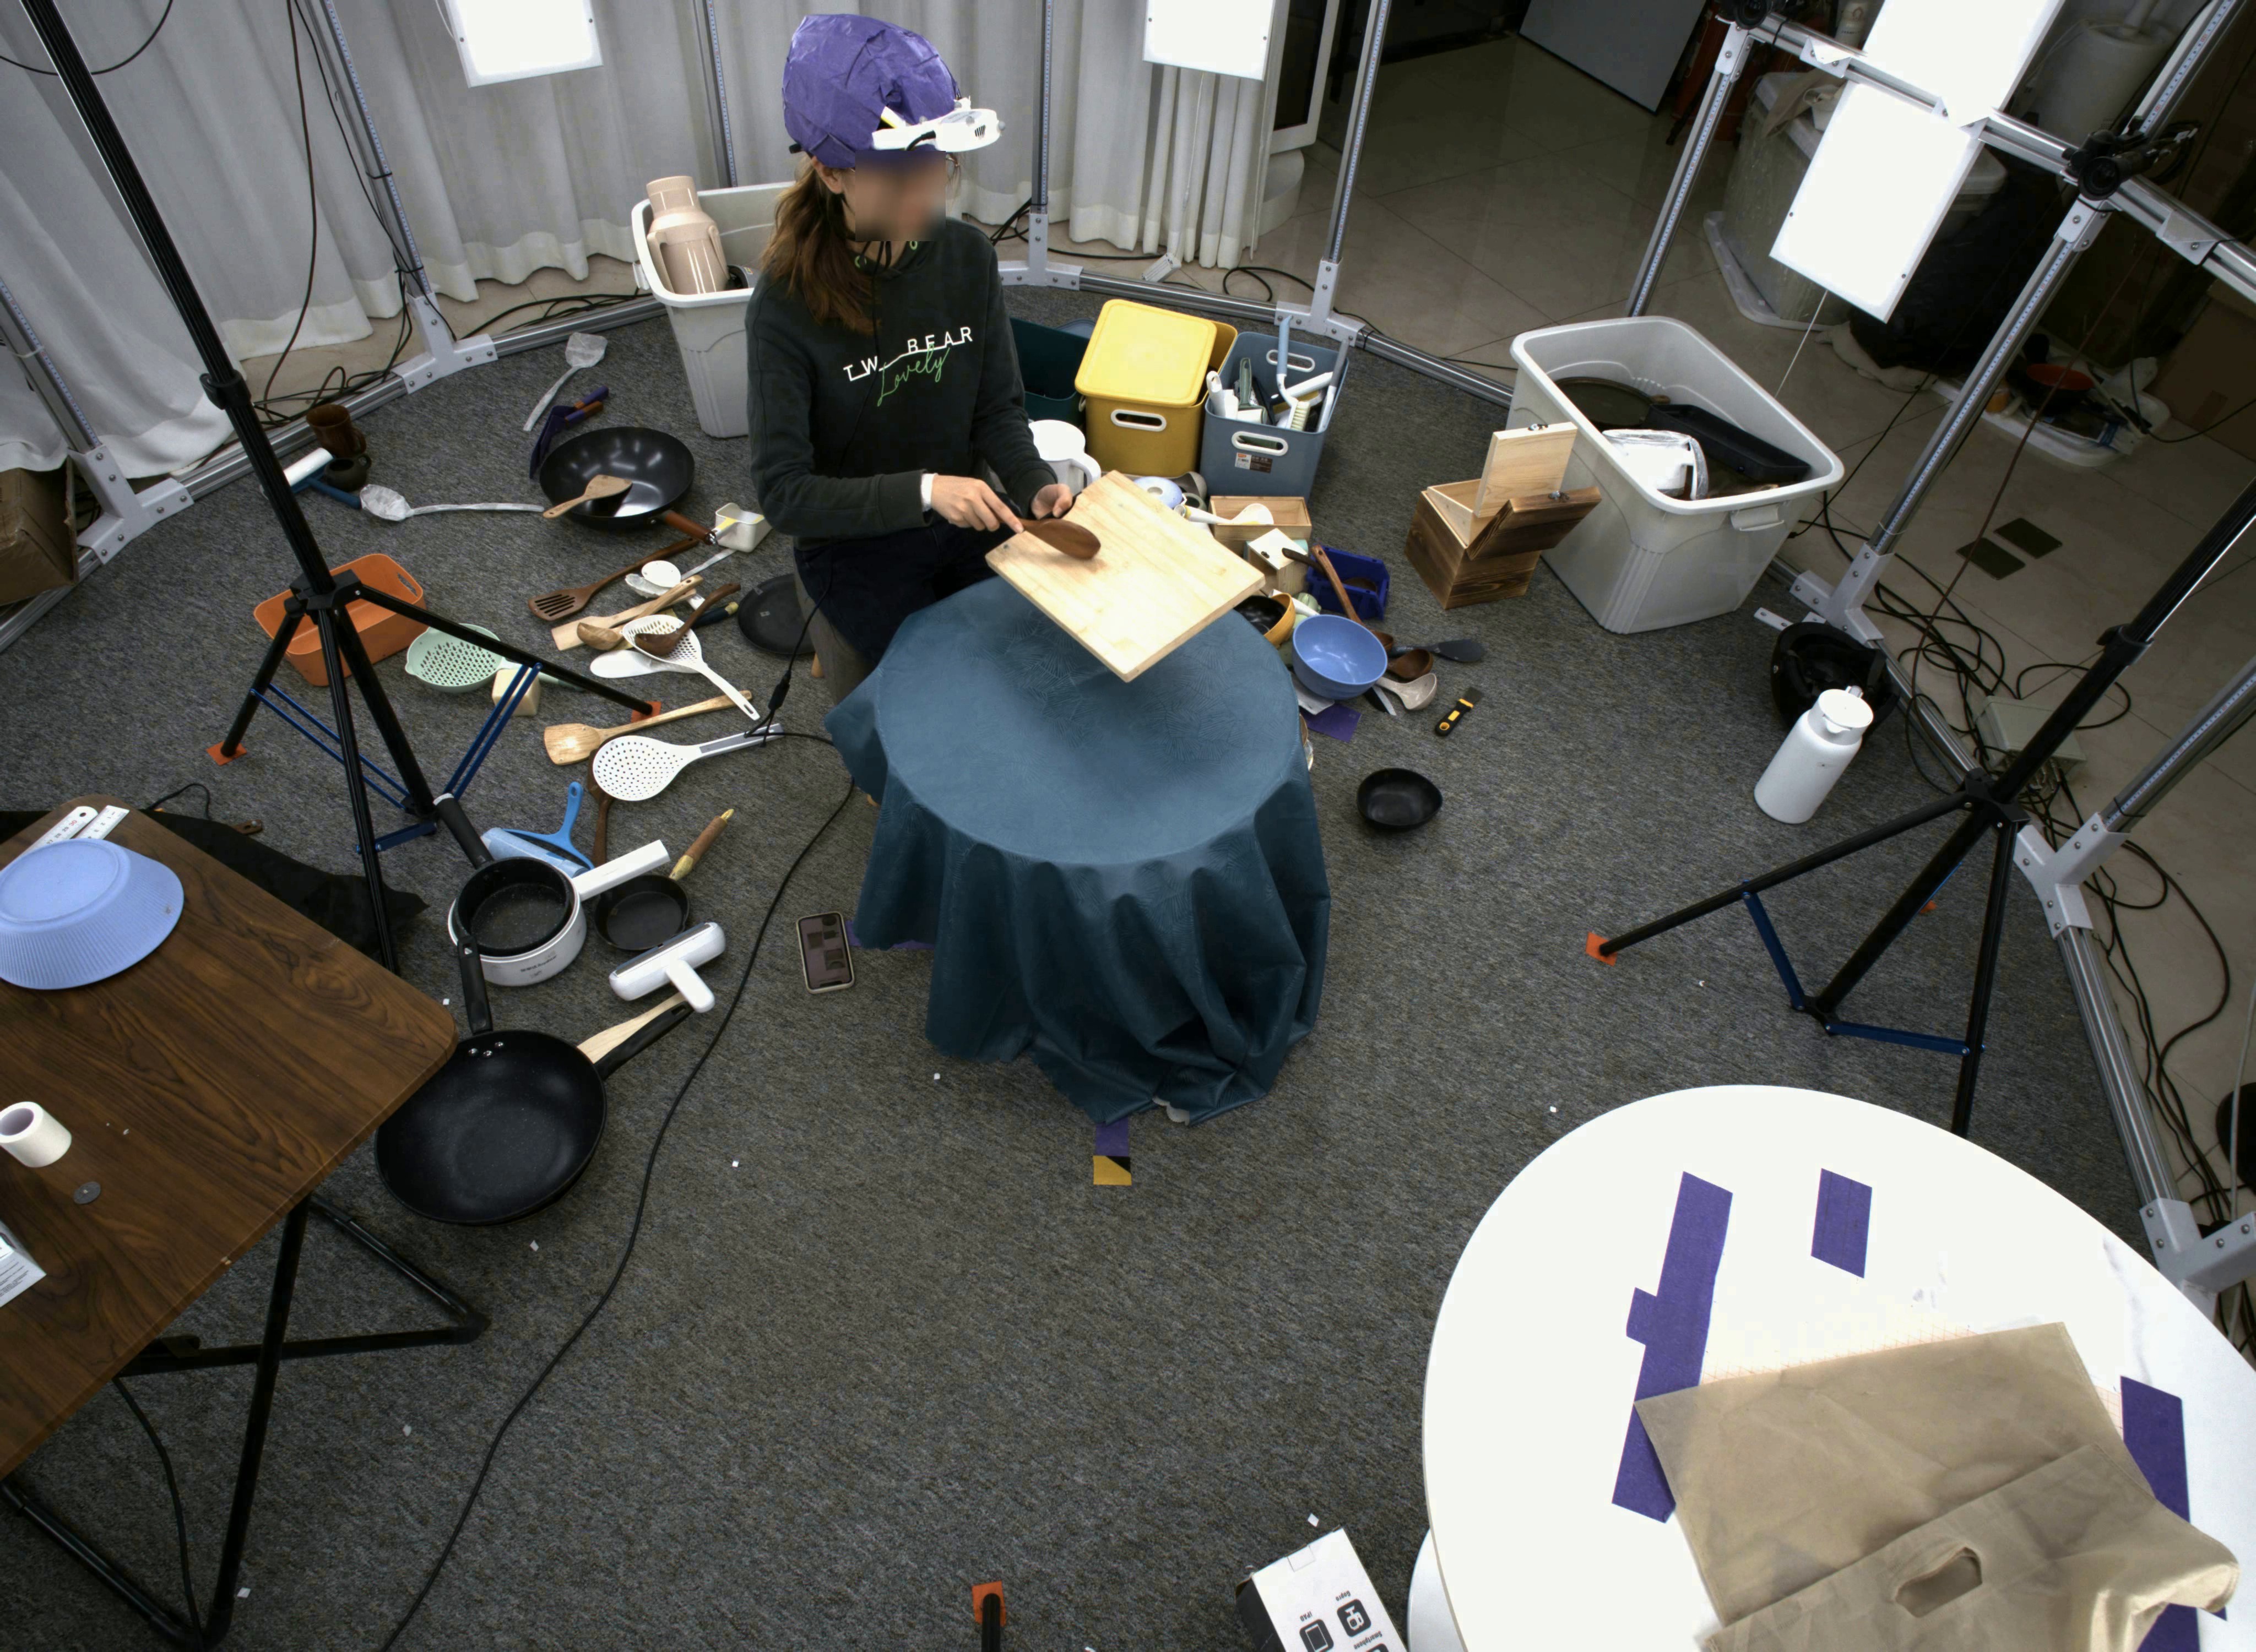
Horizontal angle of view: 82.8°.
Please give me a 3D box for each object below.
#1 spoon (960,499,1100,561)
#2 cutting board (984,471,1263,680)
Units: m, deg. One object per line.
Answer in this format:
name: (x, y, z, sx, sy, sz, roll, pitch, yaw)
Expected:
spoon: (-0.139, -0.415, 1.805, 0.217, 0.074, 0.017, 22, 73, 15)
cutting board: (-0.013, -0.358, 1.799, 0.252, 0.023, 0.355, -36, 52, -15)
